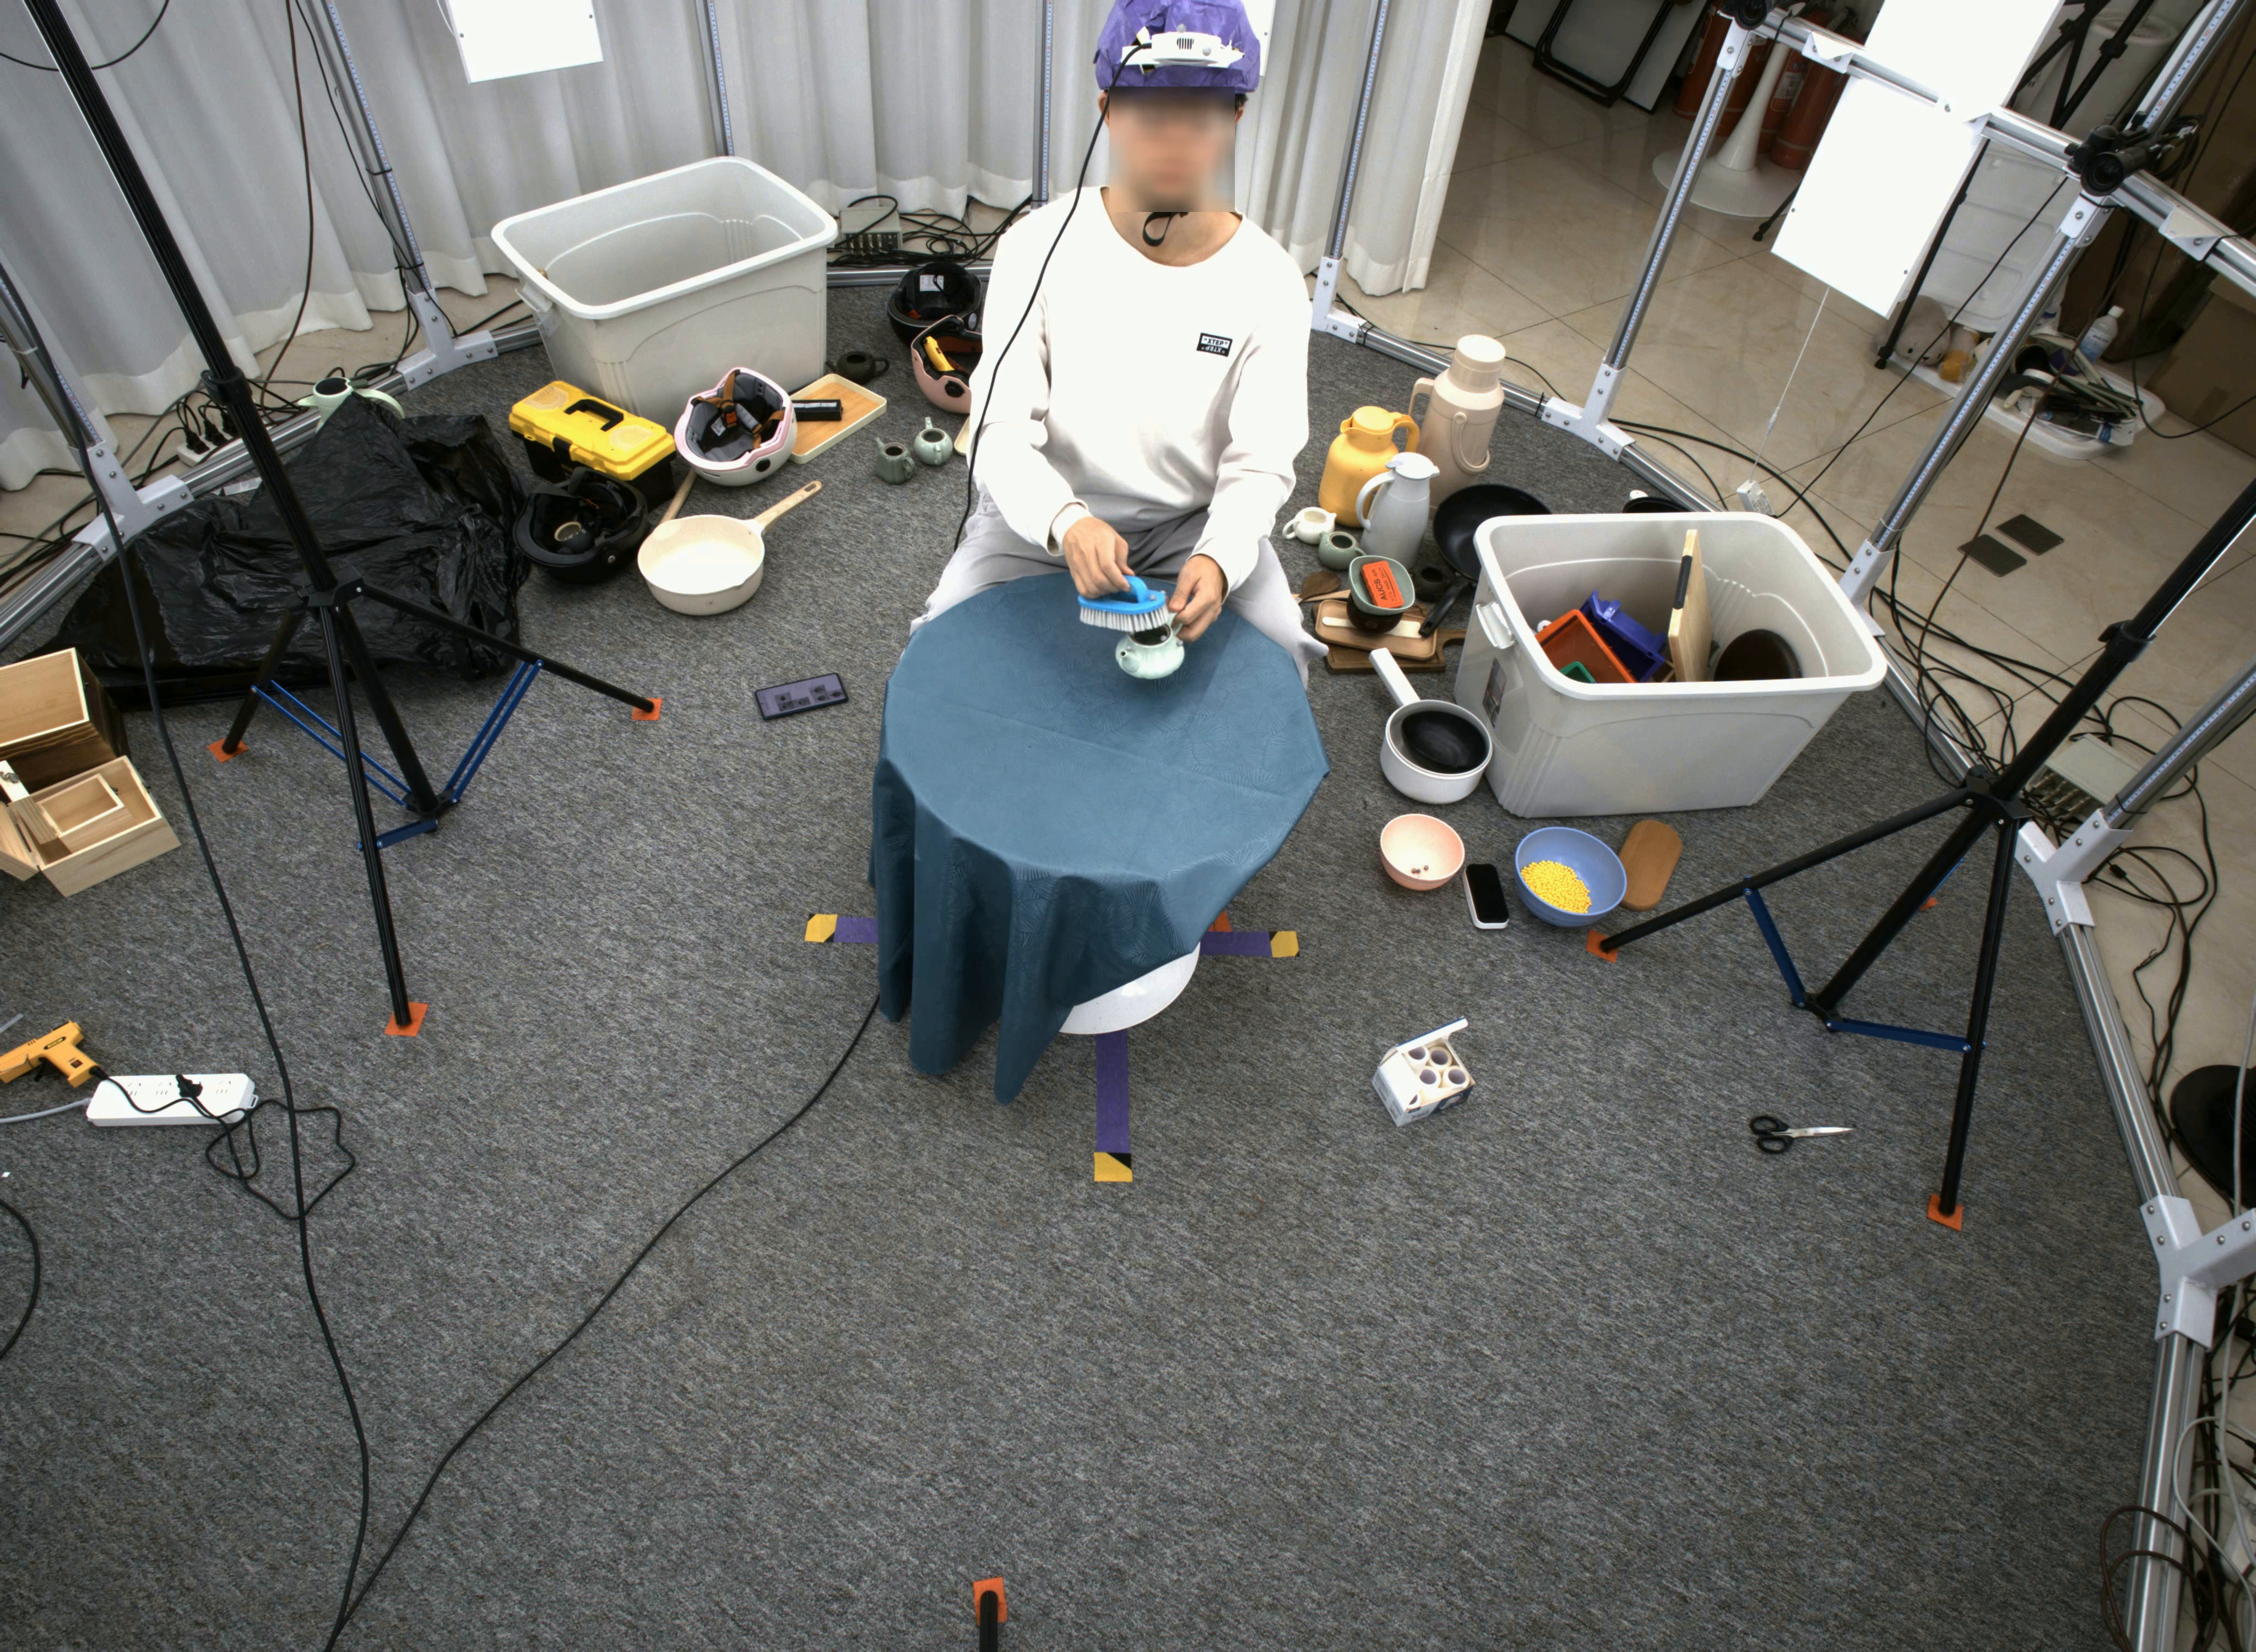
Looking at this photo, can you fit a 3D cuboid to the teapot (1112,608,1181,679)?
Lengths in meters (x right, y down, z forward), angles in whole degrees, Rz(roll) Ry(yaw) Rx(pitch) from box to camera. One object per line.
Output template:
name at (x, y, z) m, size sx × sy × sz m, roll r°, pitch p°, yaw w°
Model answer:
teapot at (0.028, -0.253, 1.799) m, size 0.097 × 0.060 × 0.138 m, roll 27°, pitch 53°, yaw 28°

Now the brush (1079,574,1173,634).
brush at (-0.008, -0.313, 1.765) m, size 0.143 × 0.062 × 0.085 m, roll 14°, pitch 42°, yaw 39°
